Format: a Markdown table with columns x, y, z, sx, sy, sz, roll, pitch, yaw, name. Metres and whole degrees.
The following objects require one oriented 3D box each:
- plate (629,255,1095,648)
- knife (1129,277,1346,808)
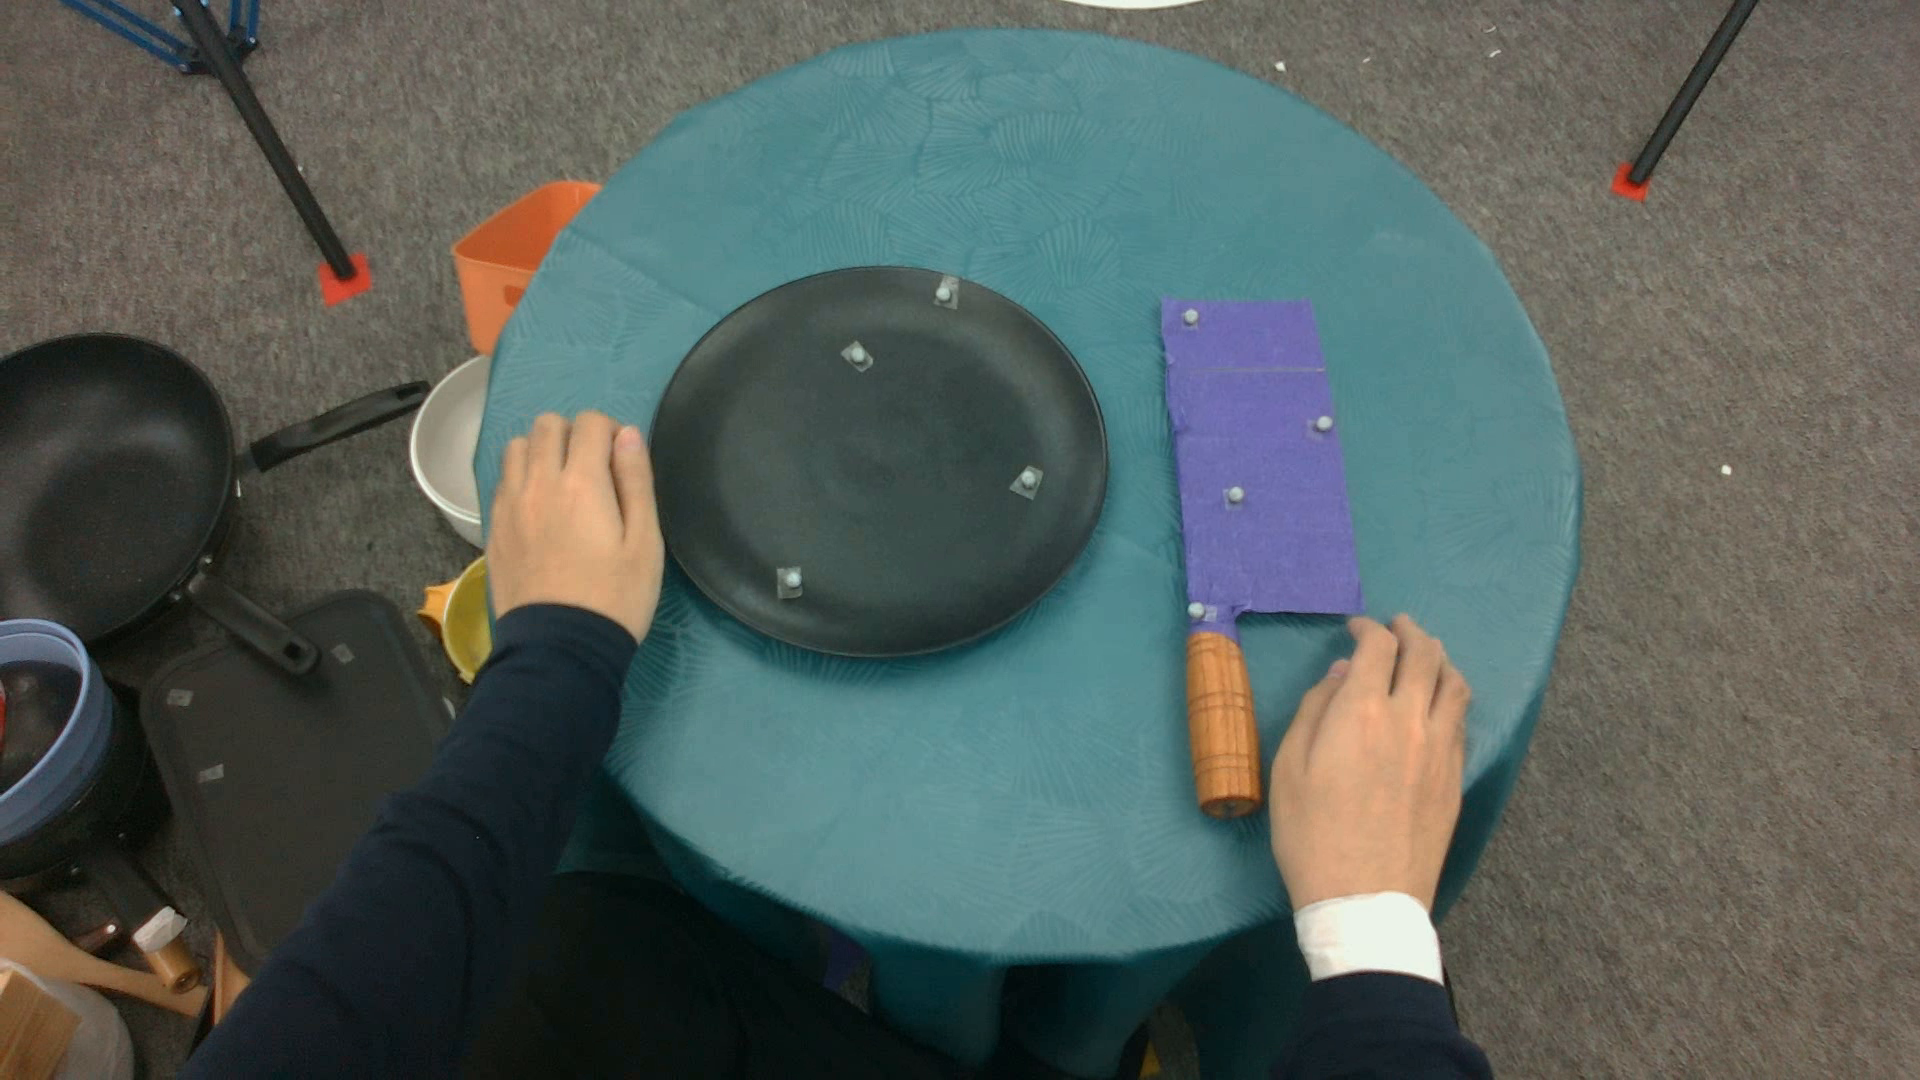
| x | y | z | sx | sy | sz | roll | pitch | yaw | name |
| --- | --- | --- | --- | --- | --- | --- | --- | --- | --- |
| -0.050 | -0.050 | 0.730 | 0.244 | 0.023 | 0.245 | 1 | 61 | -2 | plate |
| 0.151 | -0.016 | 0.720 | 0.104 | 0.032 | 0.316 | 0 | 61 | -2 | knife |
